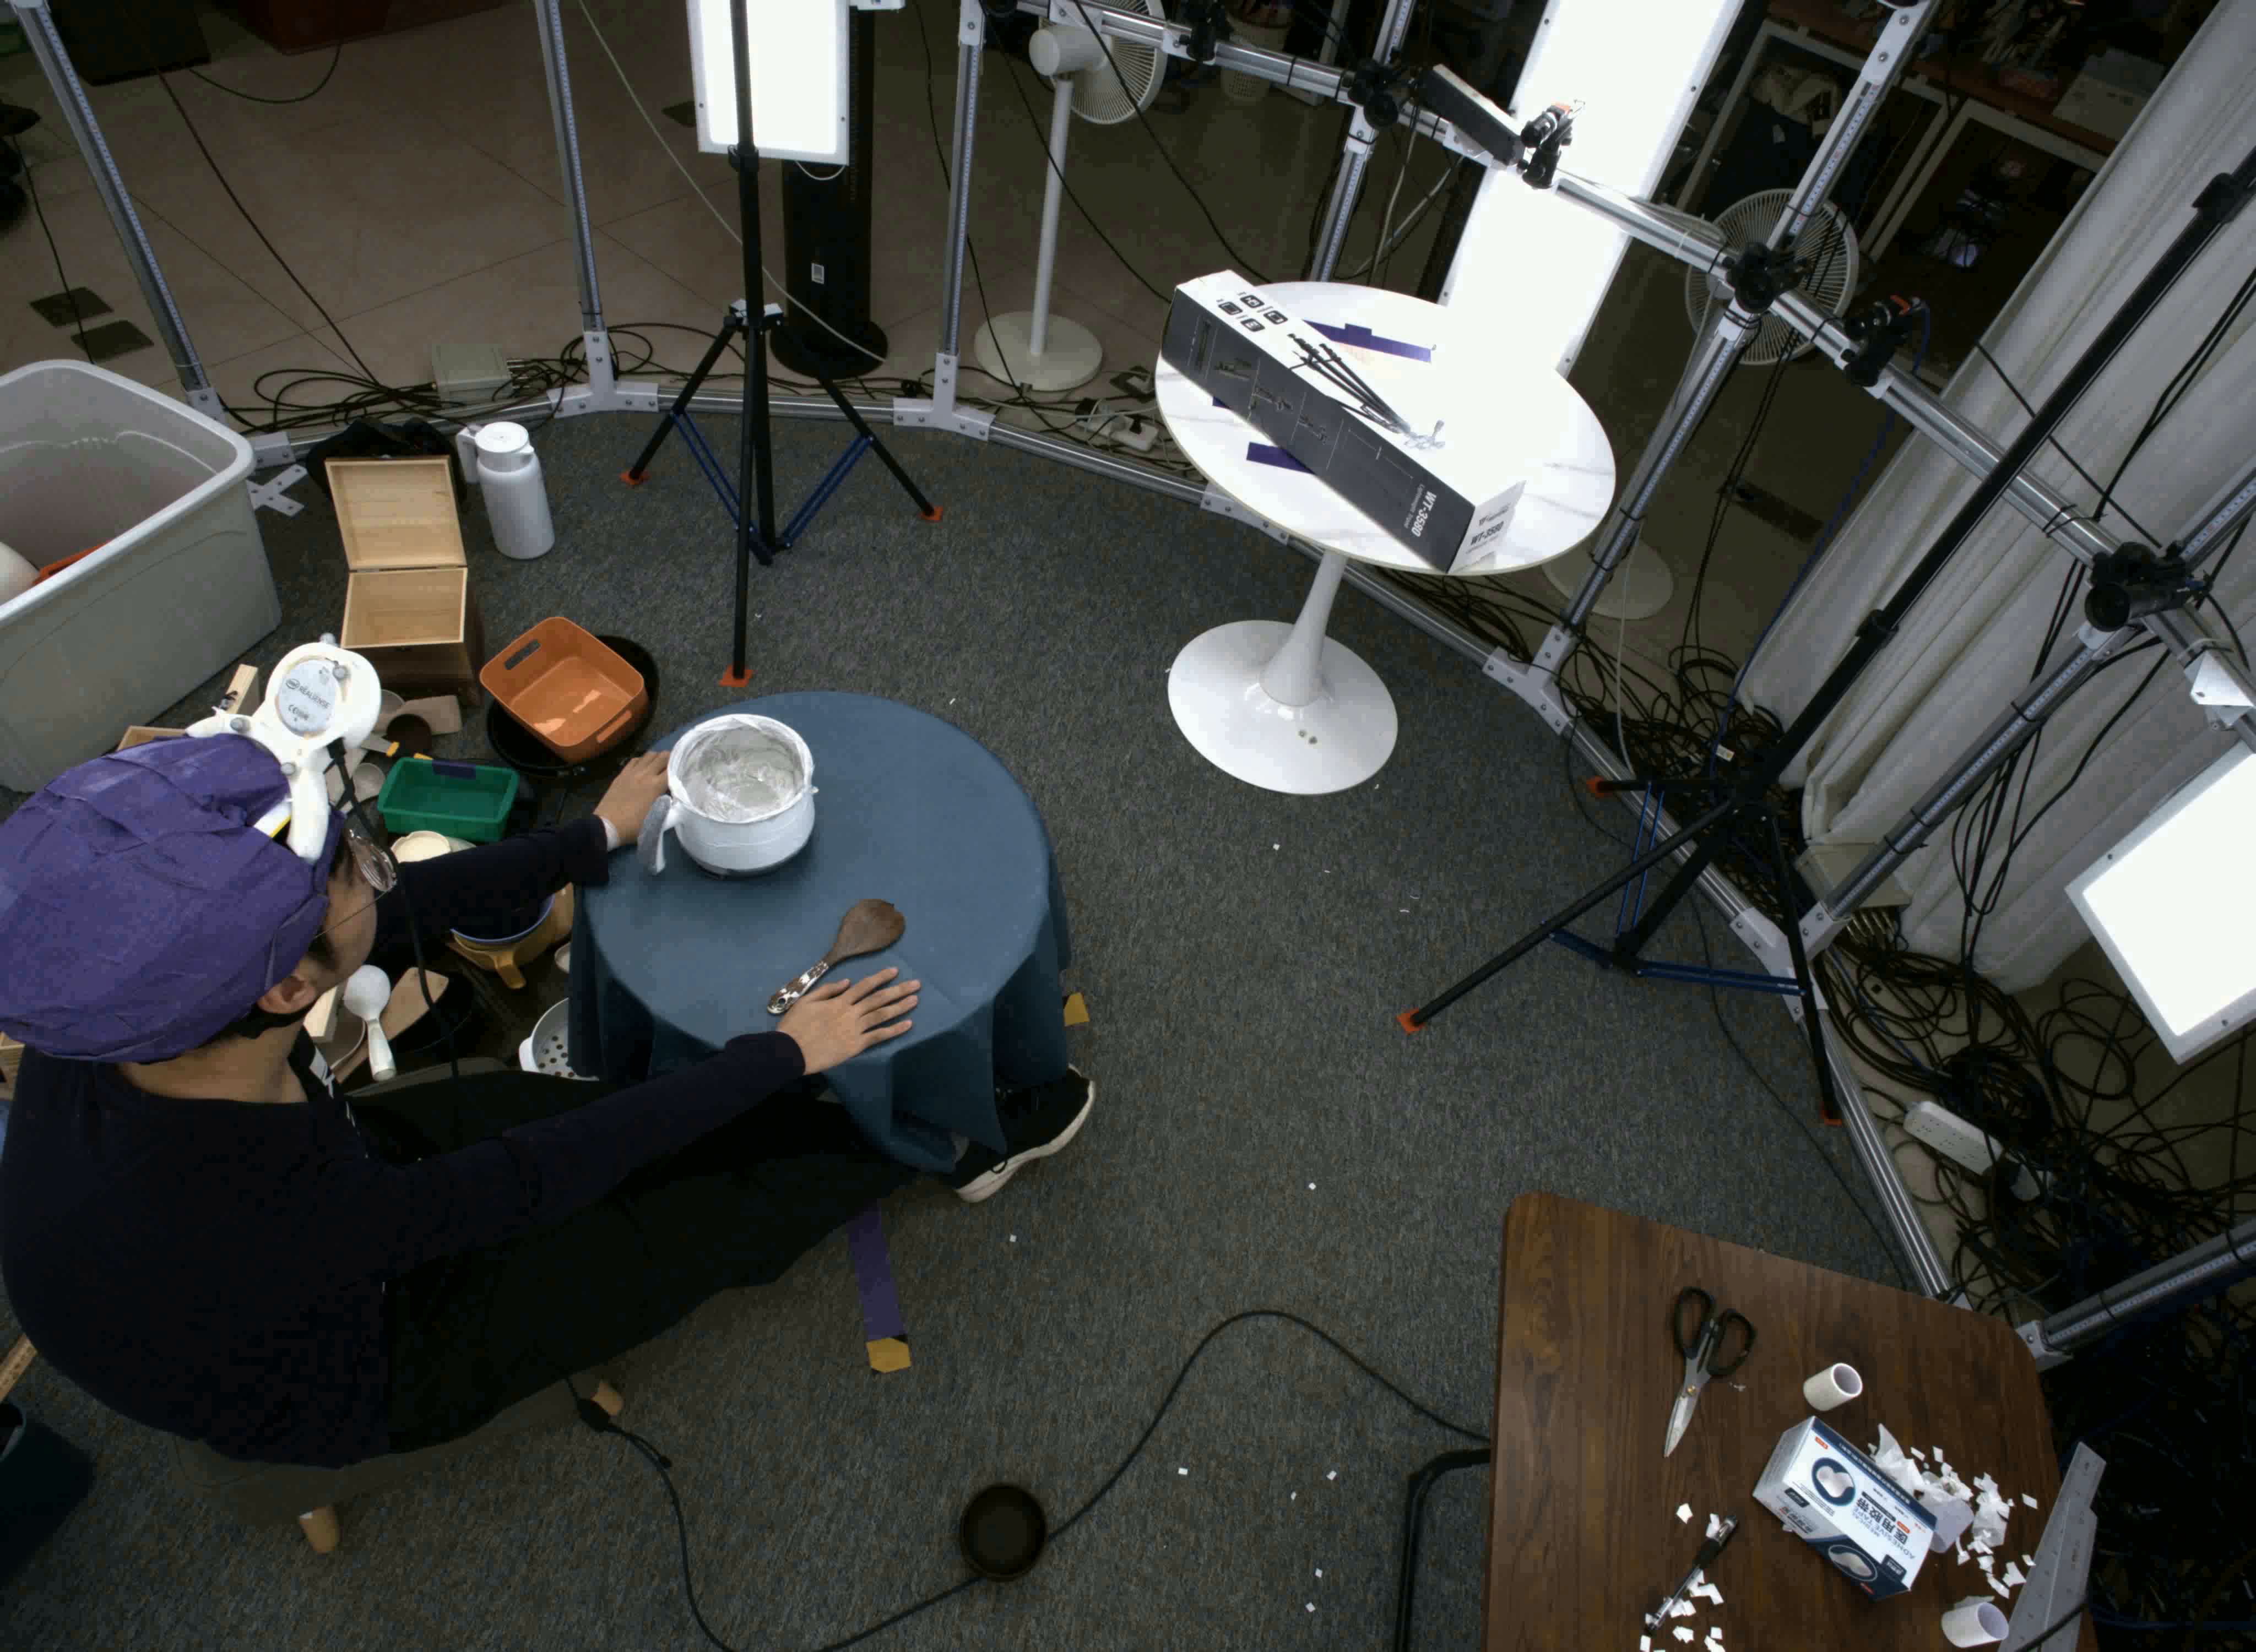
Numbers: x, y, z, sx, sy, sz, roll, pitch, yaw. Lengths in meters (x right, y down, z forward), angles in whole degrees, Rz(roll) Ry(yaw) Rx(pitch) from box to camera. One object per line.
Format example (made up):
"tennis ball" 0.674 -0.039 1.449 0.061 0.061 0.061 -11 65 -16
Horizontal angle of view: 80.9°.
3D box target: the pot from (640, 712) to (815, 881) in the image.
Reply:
"pot" -0.513 -0.026 1.641 0.234 0.140 0.174 -31 62 -32

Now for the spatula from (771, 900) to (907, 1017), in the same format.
"spatula" -0.367 0.163 1.626 0.070 0.009 0.216 37 55 15
